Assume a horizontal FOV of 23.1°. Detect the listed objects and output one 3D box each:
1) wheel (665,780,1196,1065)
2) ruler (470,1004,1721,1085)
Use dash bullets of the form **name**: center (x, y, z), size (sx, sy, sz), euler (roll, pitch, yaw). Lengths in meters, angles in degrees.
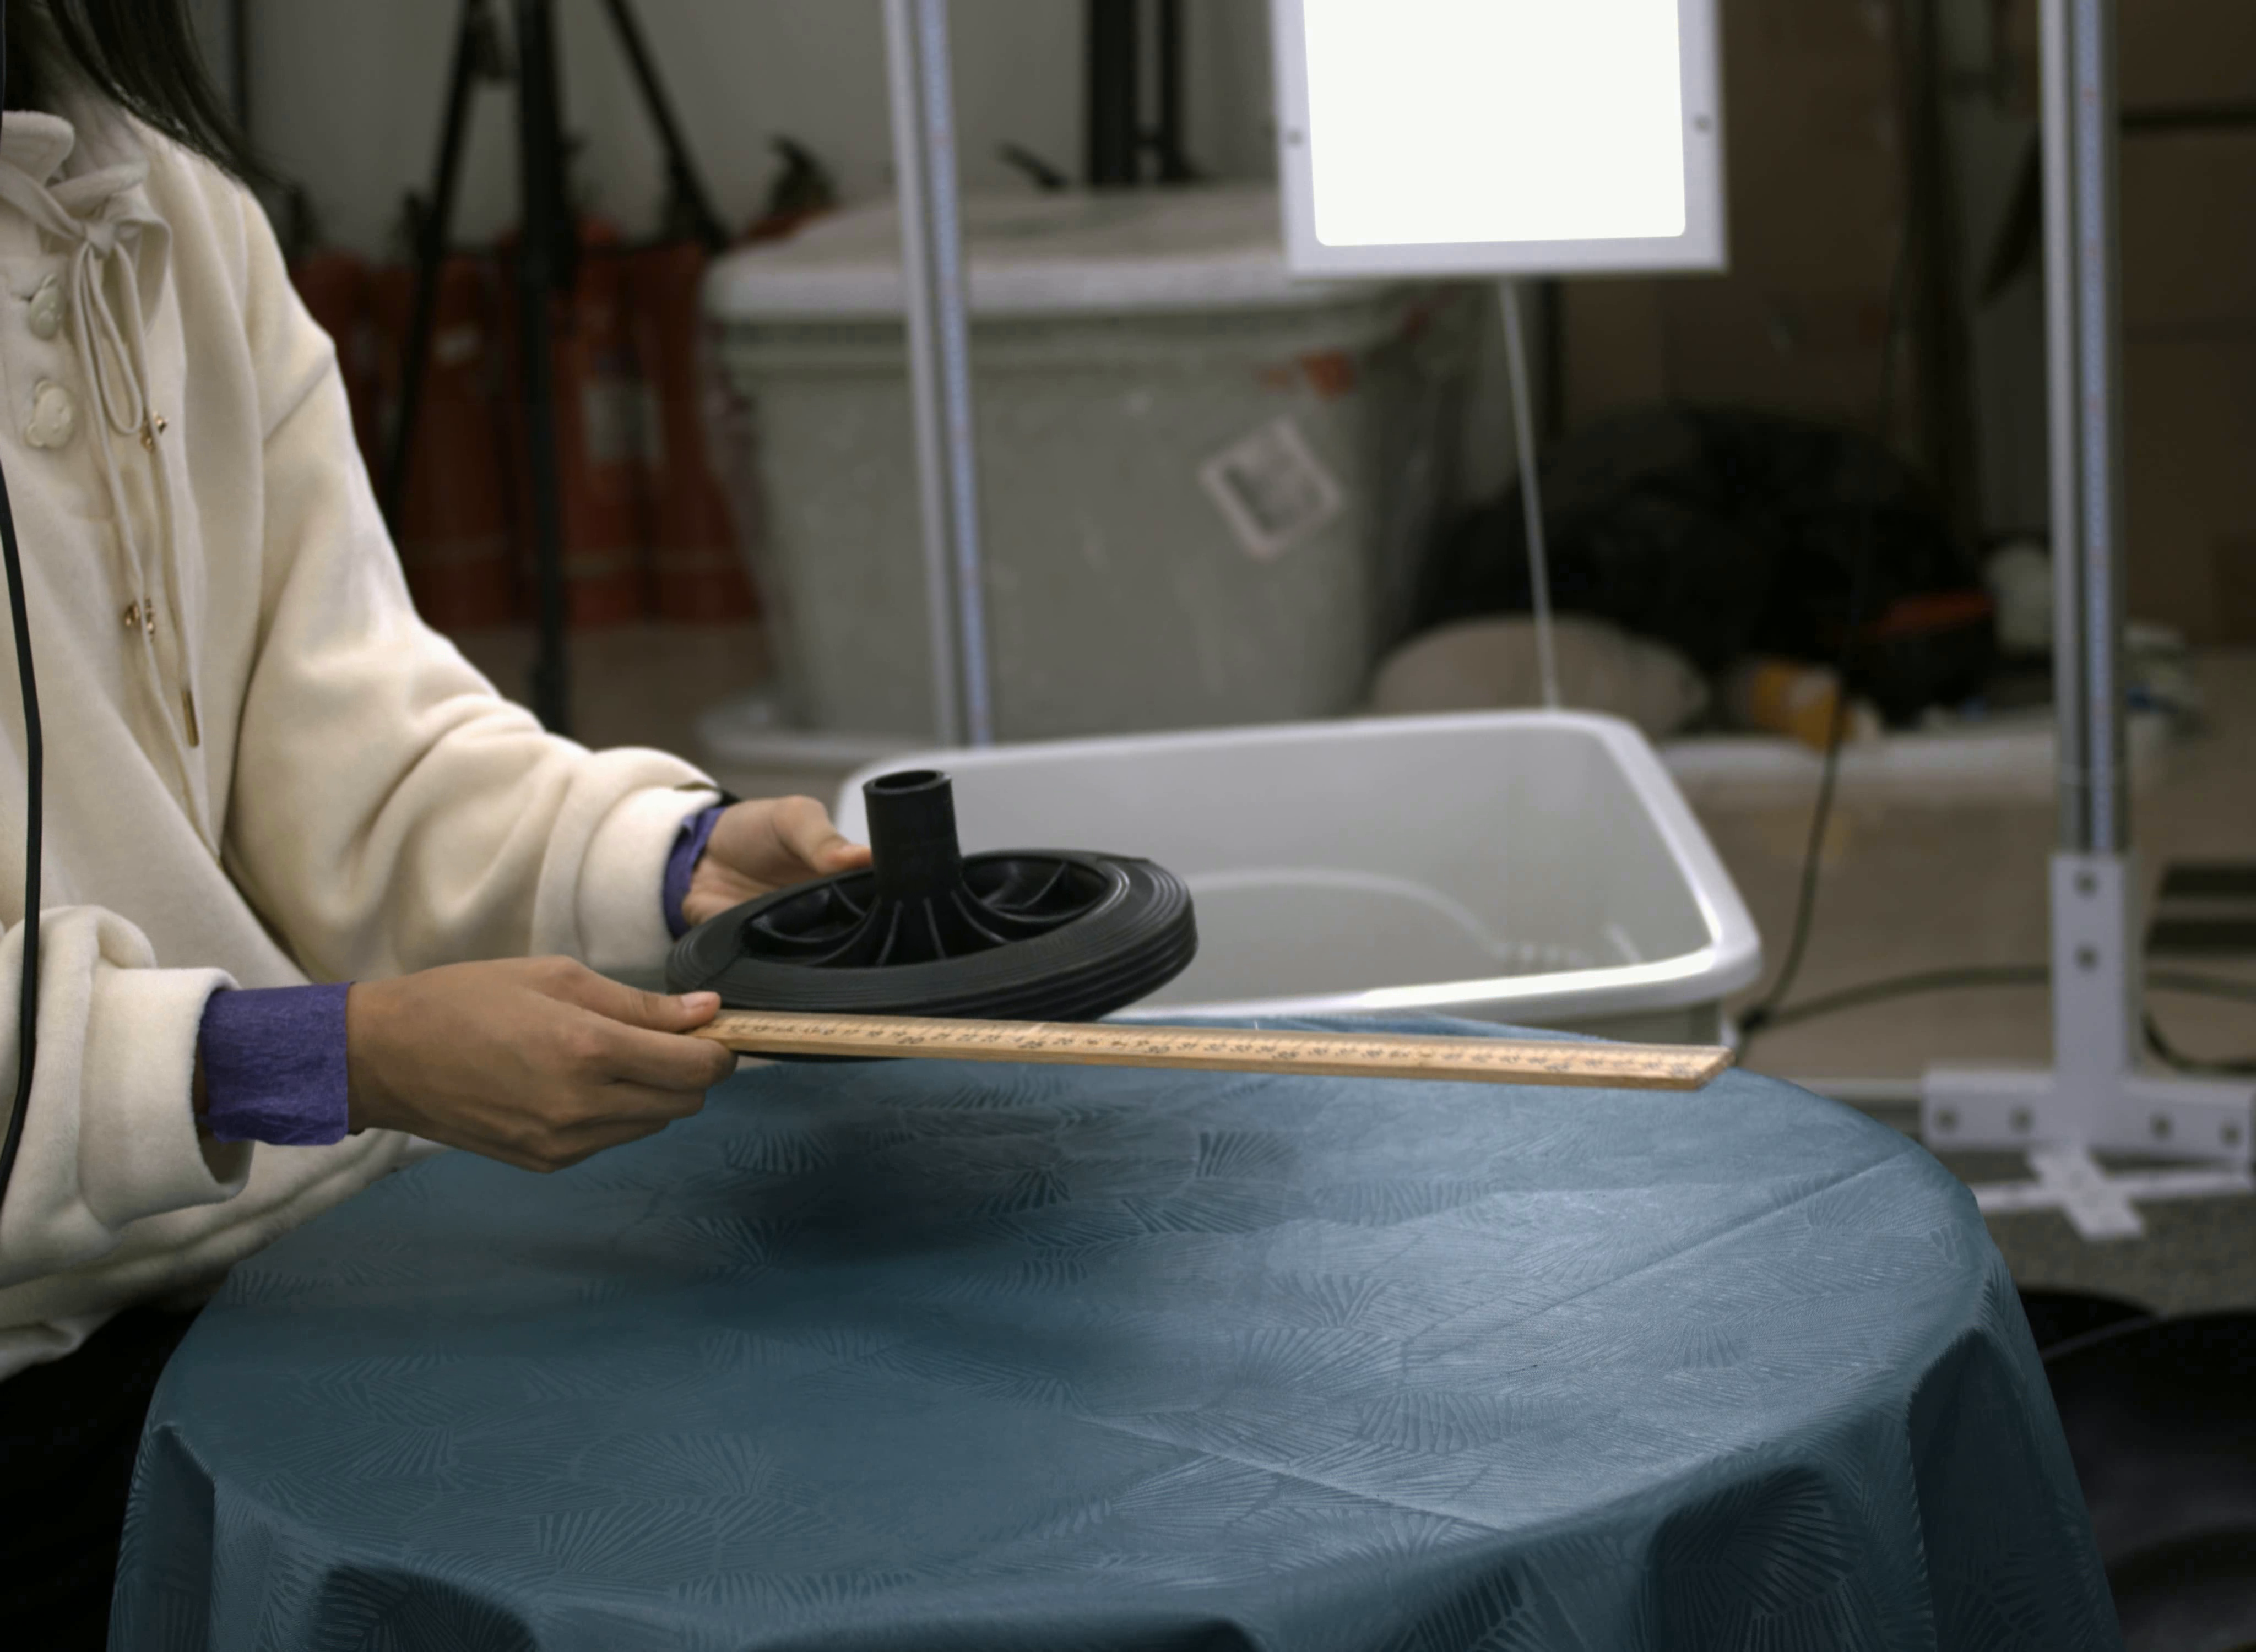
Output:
- **wheel**: center (-0.072, 0.026, 1.928), size (0.188, 0.079, 0.188), euler (-6, 14, 9)
- **ruler**: center (-0.028, 0.069, 1.766), size (0.511, 0.006, 0.026), euler (0, 21, 40)
